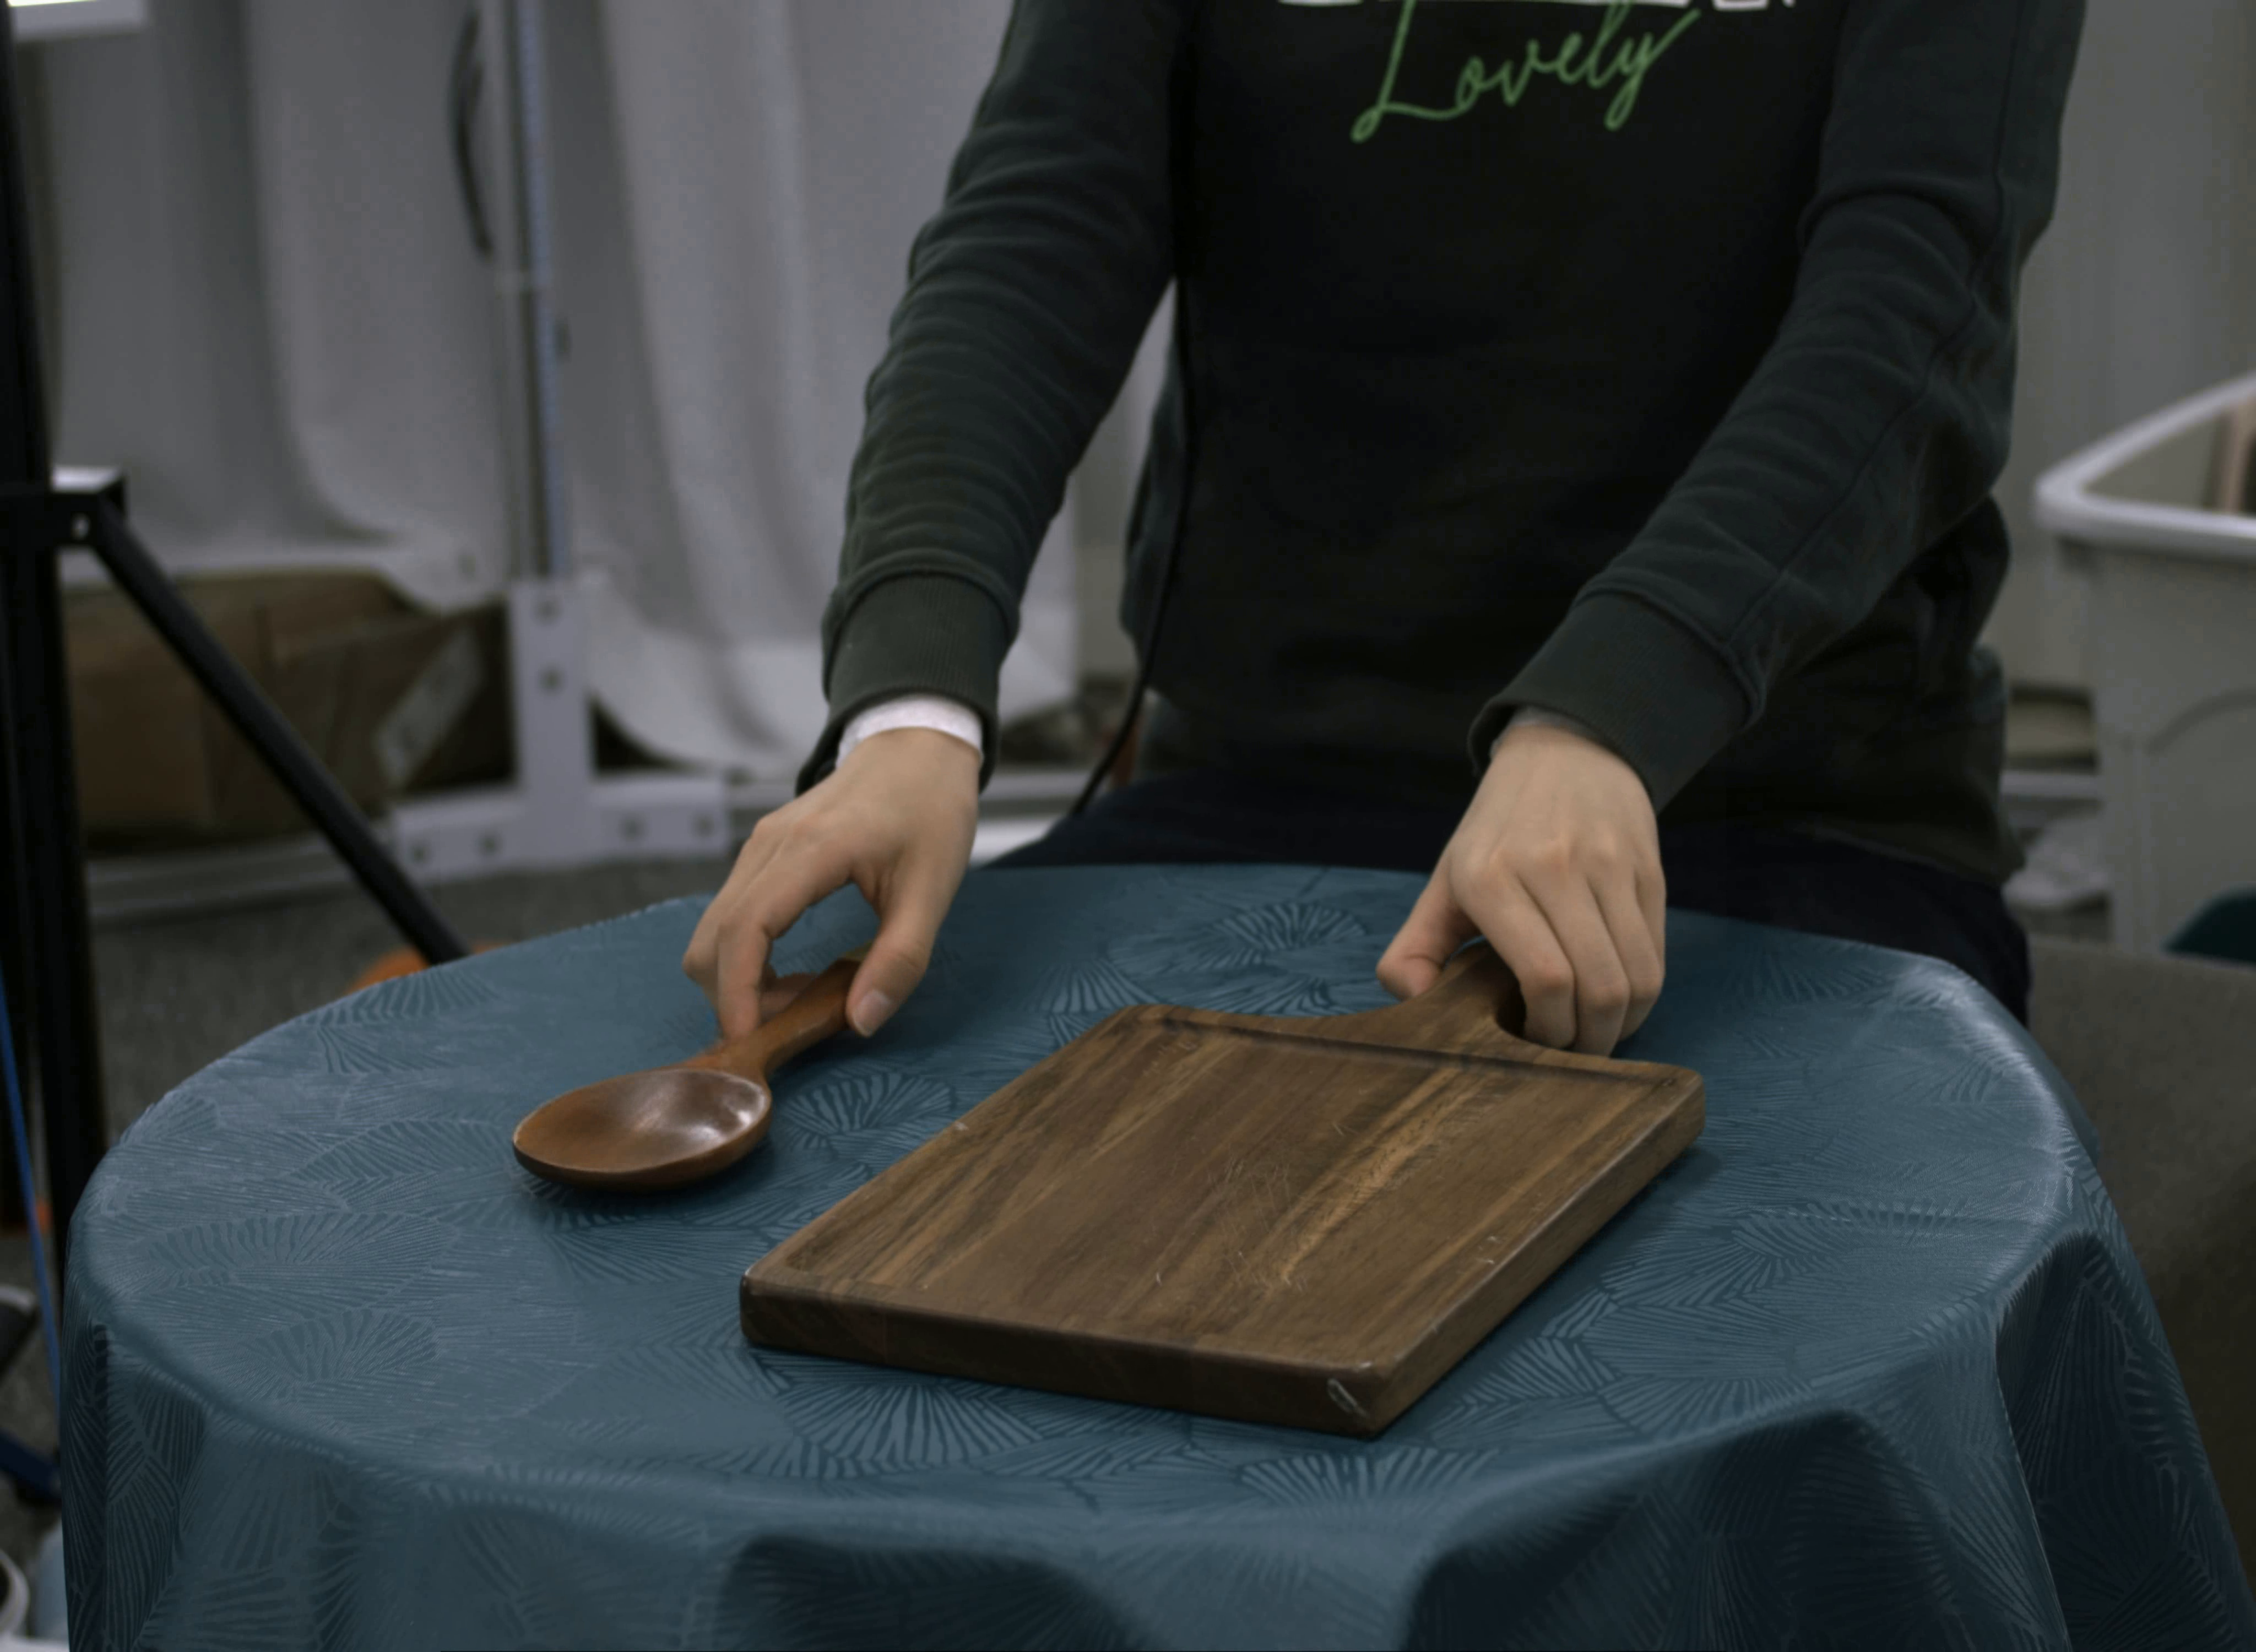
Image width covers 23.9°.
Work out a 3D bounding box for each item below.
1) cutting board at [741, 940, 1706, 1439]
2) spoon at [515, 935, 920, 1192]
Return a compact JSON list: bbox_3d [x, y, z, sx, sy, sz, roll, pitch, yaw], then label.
[{"bbox_3d":[0.054,0.095,1.551,0.204,0.023,0.346,5,18,27],"label":"cutting board"},{"bbox_3d":[-0.118,0.075,1.654,0.076,0.017,0.213,2,19,25],"label":"spoon"}]
